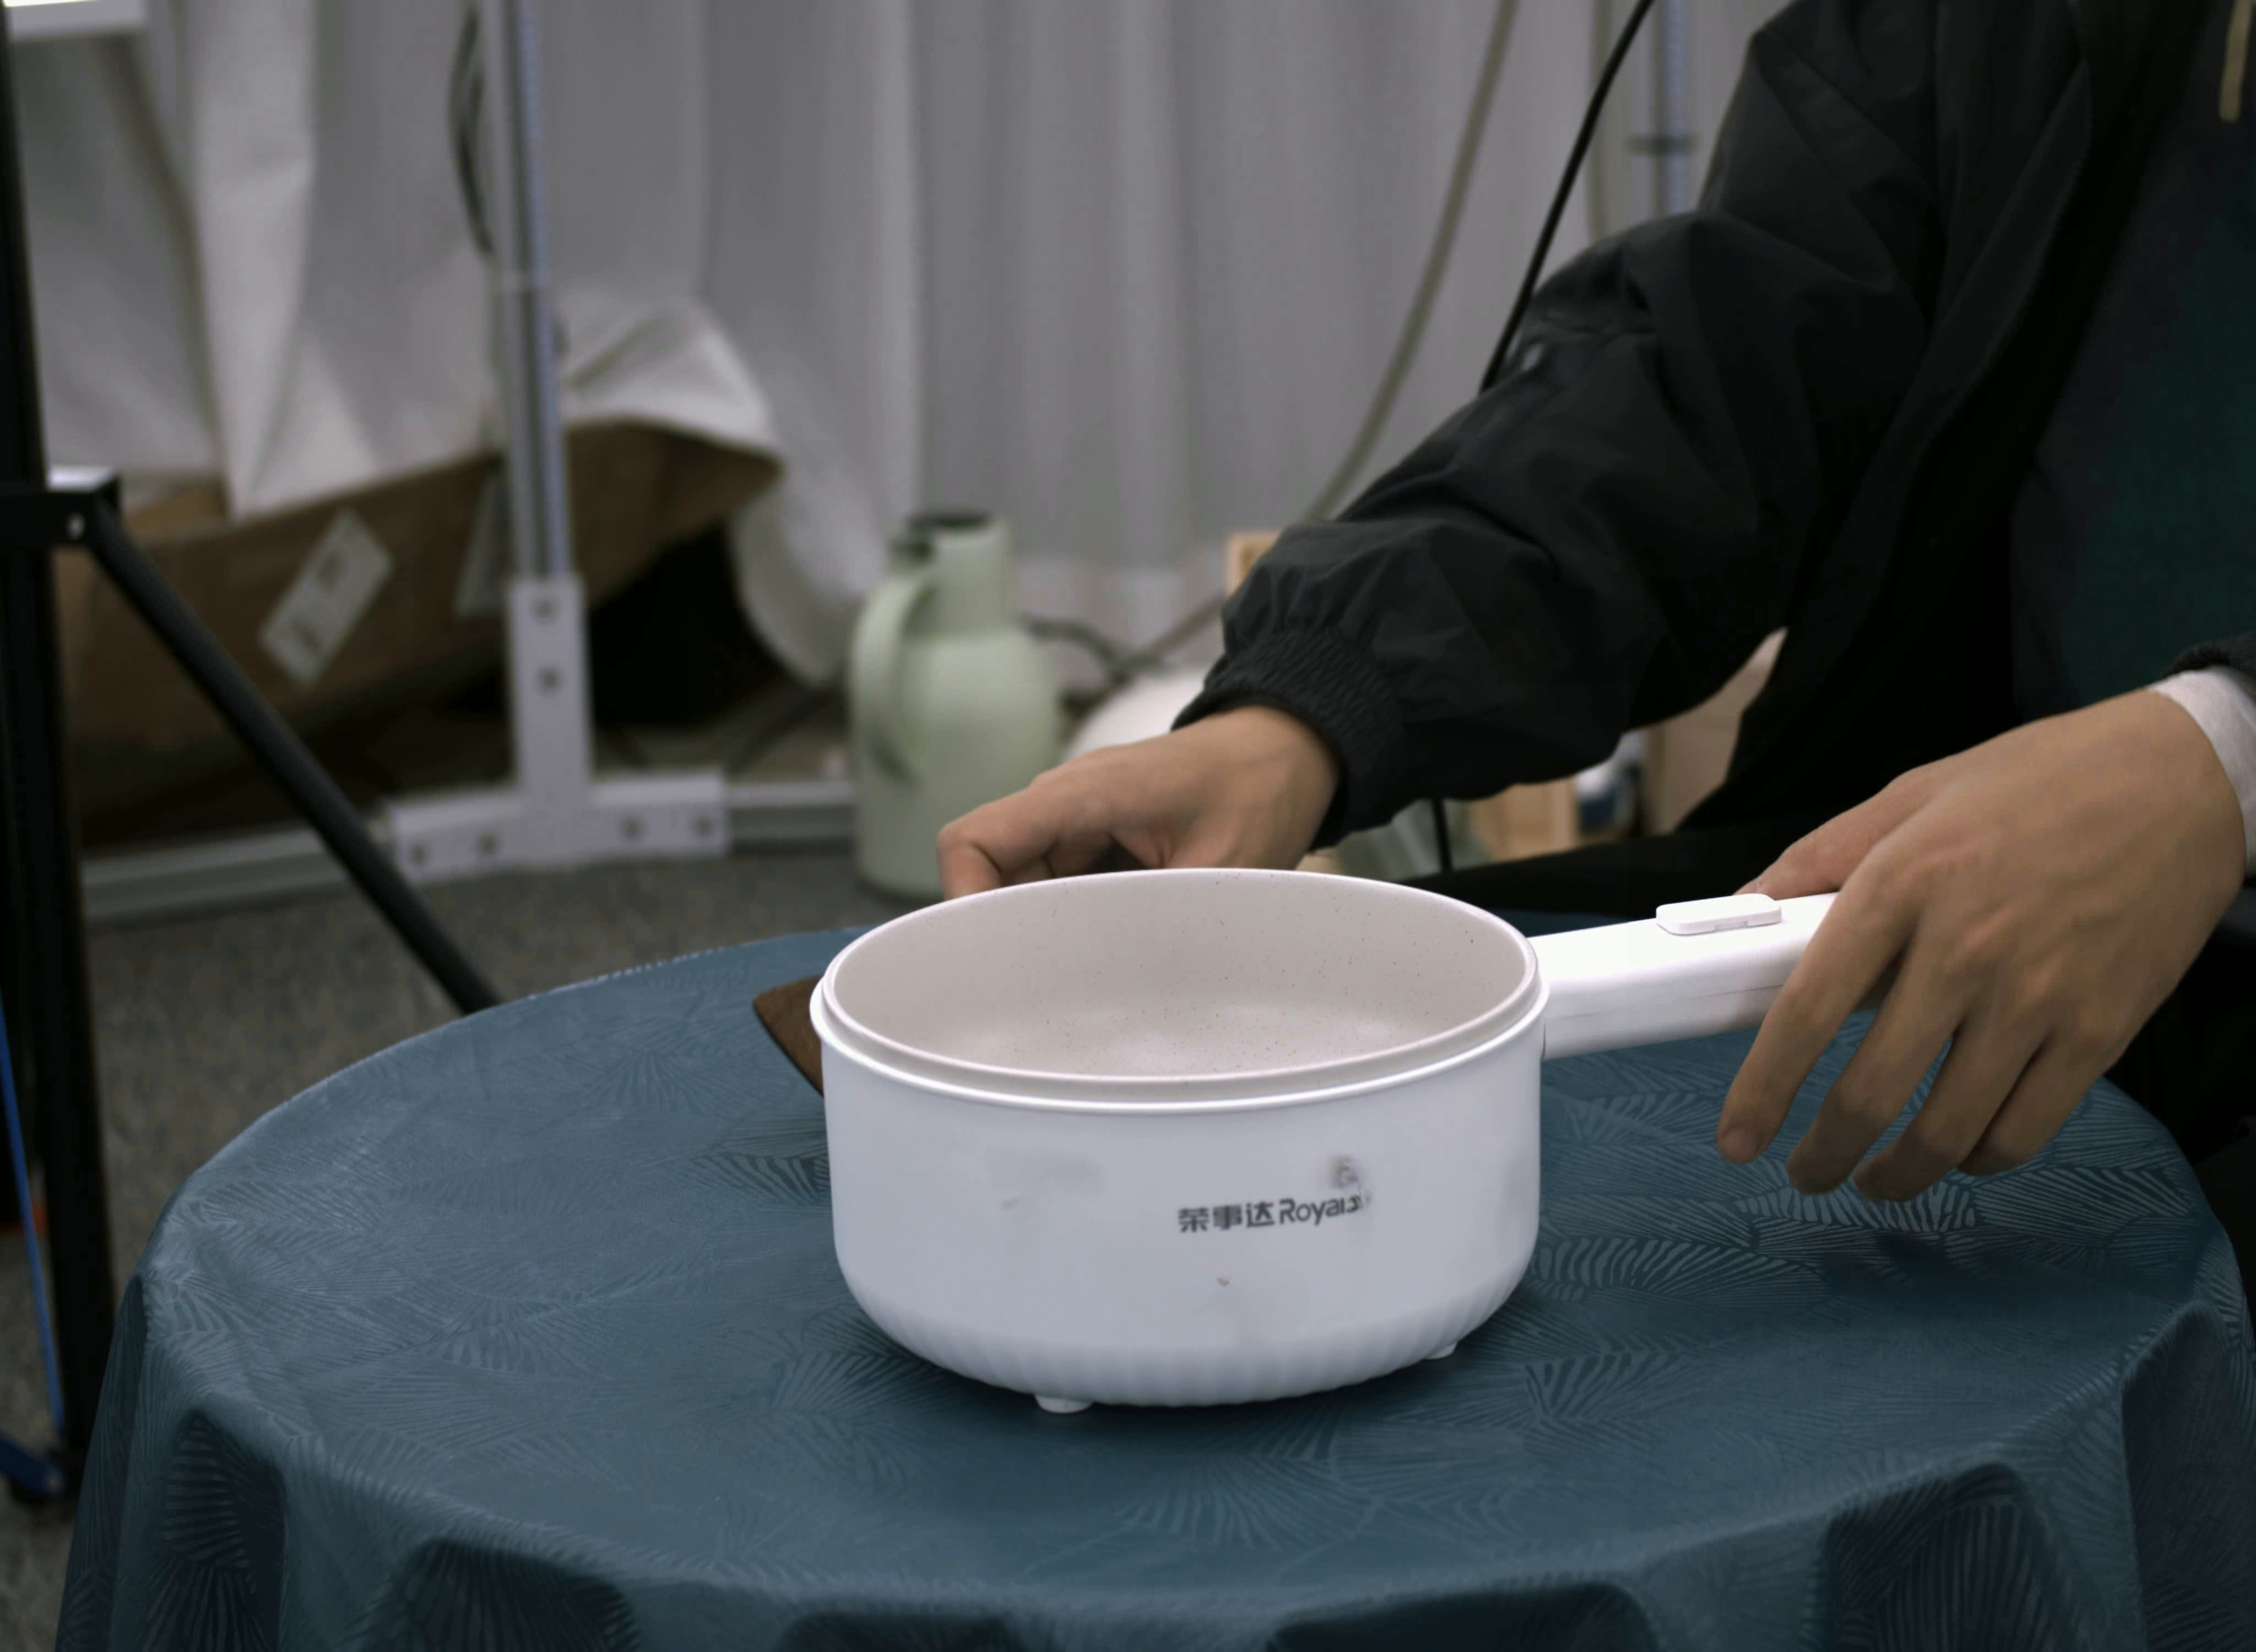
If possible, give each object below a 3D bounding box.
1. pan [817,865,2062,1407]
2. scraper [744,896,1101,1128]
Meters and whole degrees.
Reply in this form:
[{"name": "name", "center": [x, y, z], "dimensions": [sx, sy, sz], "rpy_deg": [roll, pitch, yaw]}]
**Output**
[{"name": "pan", "center": [0.089, 0.080, 1.467], "dimensions": [0.349, 0.102, 0.204], "rpy_deg": [-5, 16, -15]}, {"name": "scraper", "center": [-0.046, 0.057, 1.665], "dimensions": [0.076, 0.011, 0.207], "rpy_deg": [42, 29, 12]}]
